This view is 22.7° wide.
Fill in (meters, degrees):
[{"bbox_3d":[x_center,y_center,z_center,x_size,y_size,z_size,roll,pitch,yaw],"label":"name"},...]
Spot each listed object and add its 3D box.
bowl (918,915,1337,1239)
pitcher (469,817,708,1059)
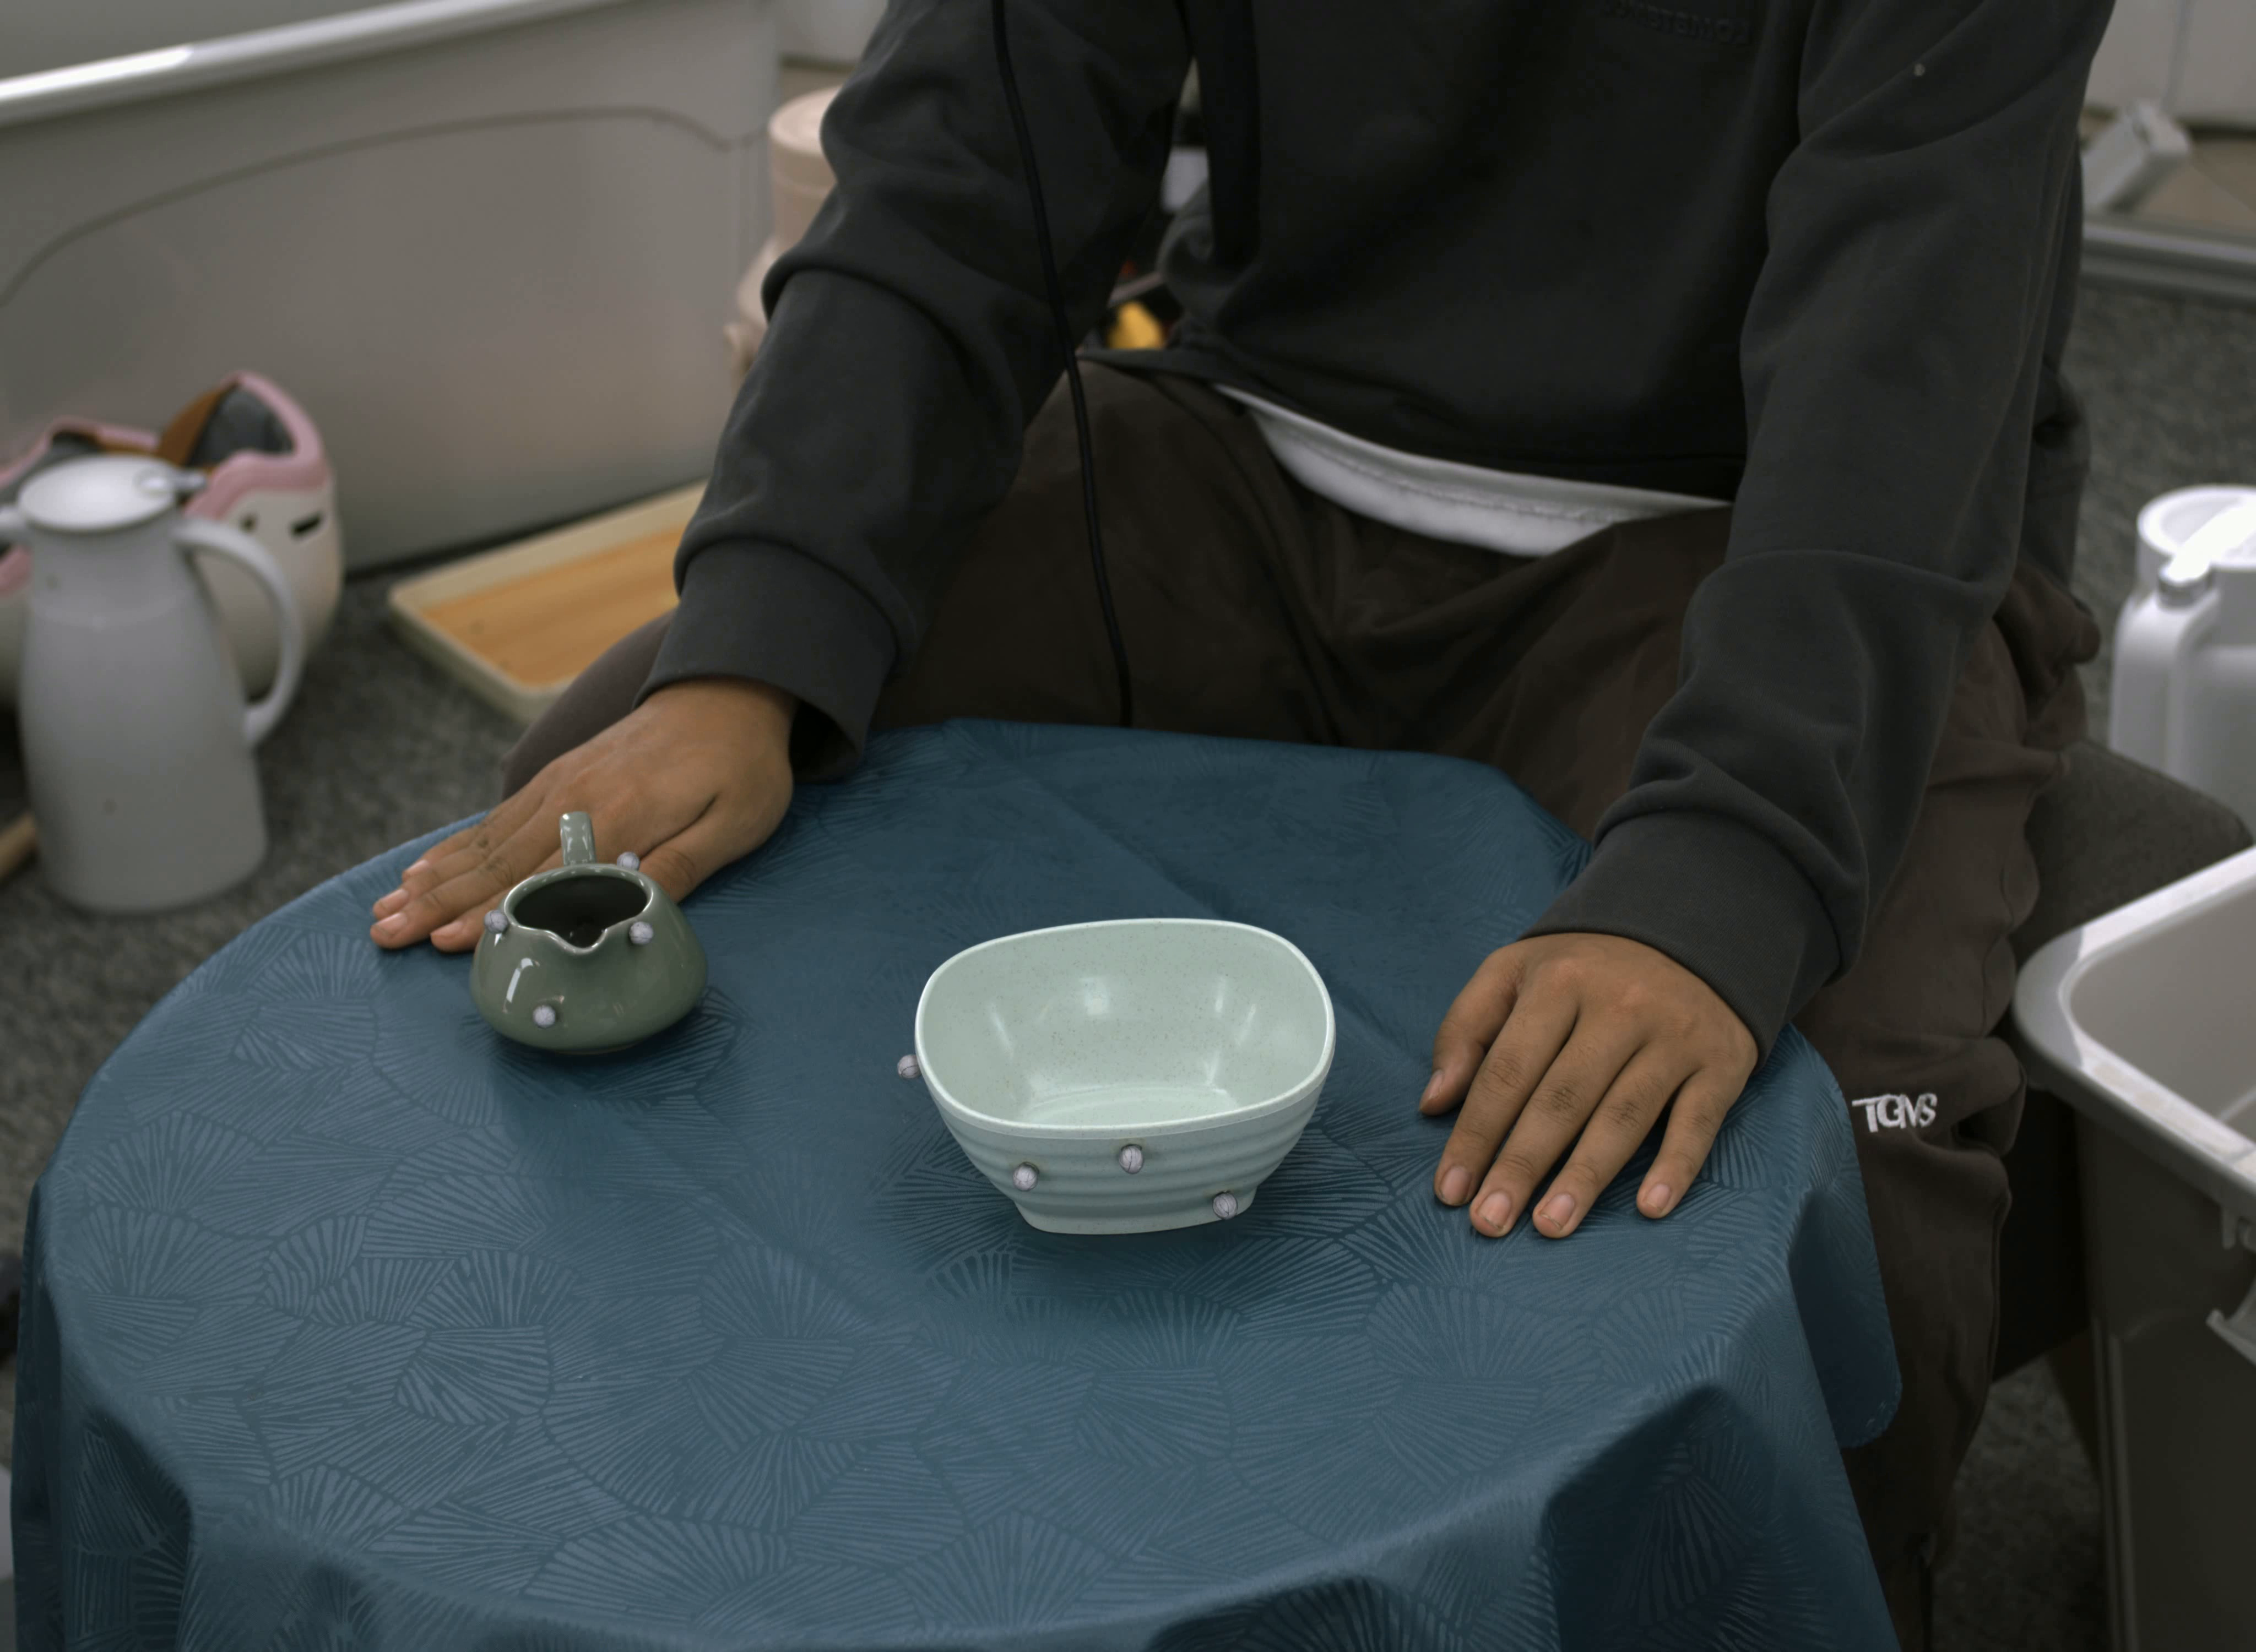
[{"bbox_3d":[0.001,0.090,1.867,0.151,0.058,0.154,-2,29,2],"label":"bowl"},{"bbox_3d":[-0.191,0.042,1.977,0.084,0.055,0.114,-6,26,-7],"label":"pitcher"}]
